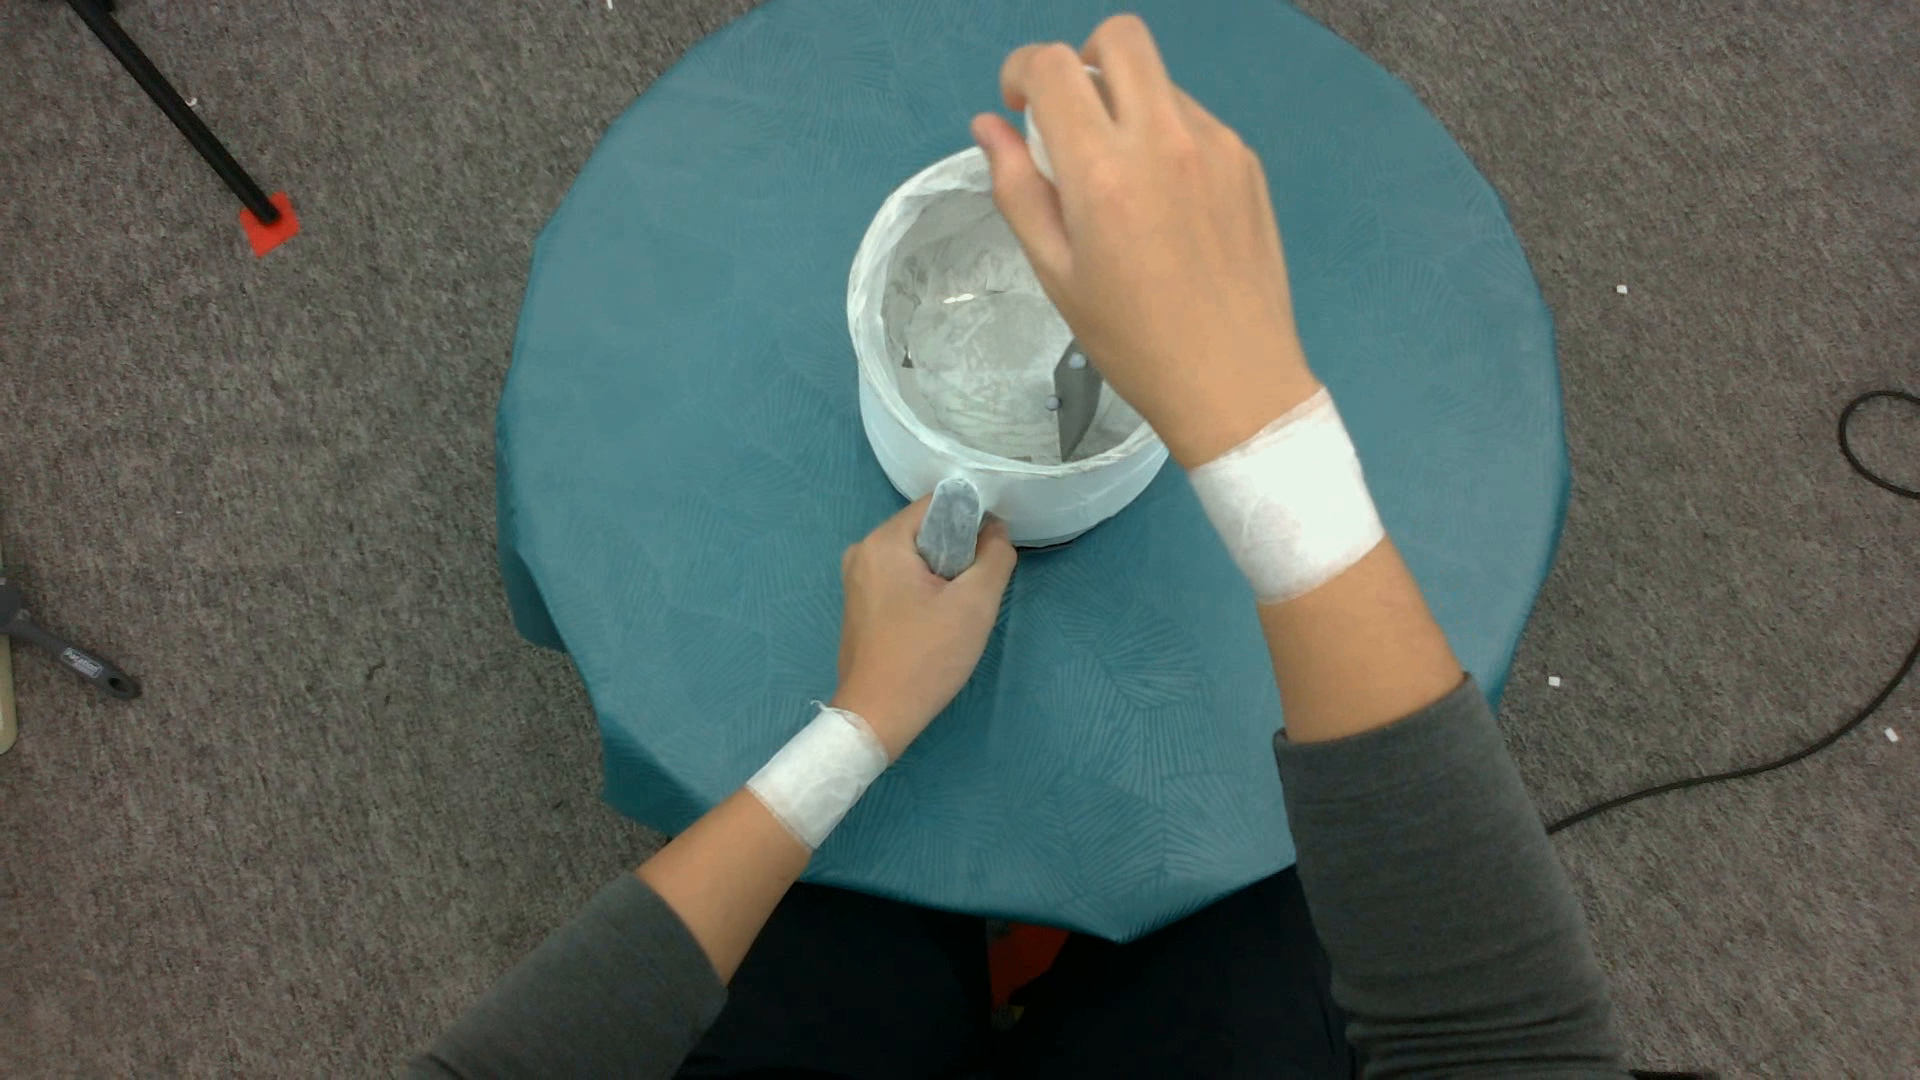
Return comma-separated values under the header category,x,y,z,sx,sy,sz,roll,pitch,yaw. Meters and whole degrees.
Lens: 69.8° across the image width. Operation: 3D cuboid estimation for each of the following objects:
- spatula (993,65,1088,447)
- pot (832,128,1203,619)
category,x,y,z,sx,sy,sz,roll,pitch,yaw
spatula,0.037,-0.107,0.591,0.032,0.287,0.059,-9,75,2
pot,0.017,-0.076,0.707,0.178,0.136,0.234,19,74,4
